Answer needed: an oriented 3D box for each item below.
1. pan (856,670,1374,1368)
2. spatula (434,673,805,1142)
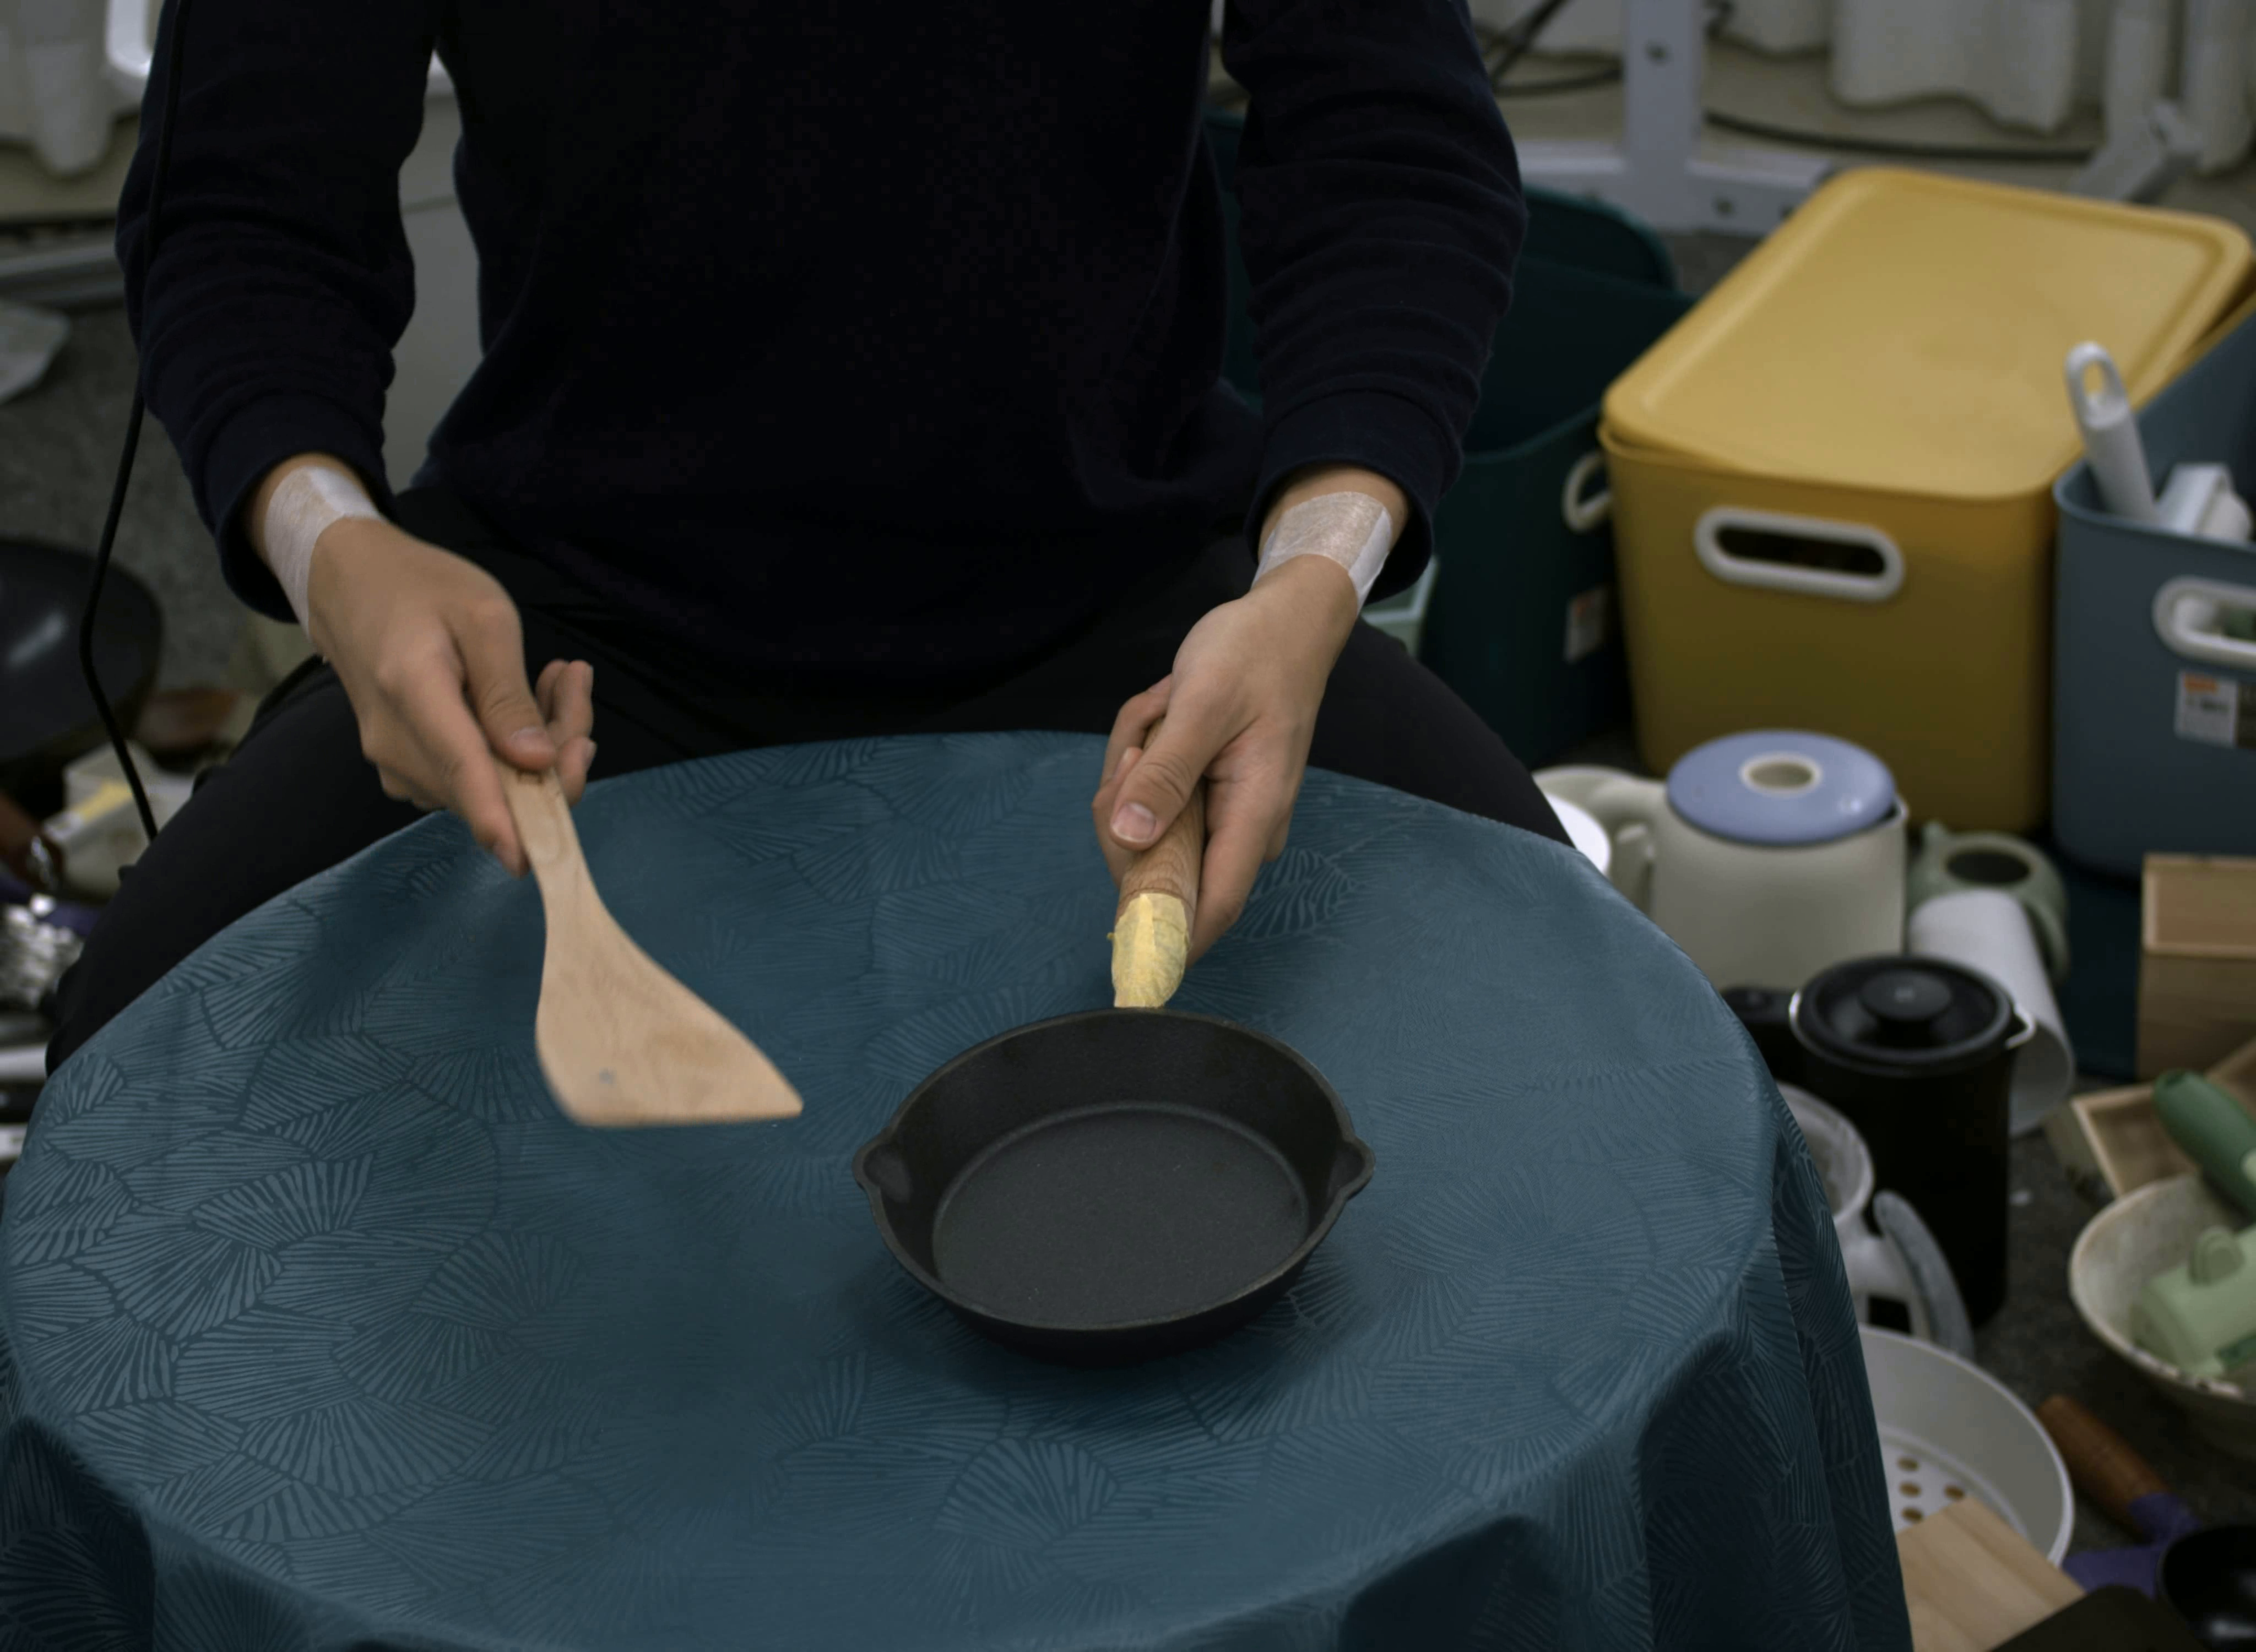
[{"bbox_3d":[0.007,0.062,1.873,0.168,0.049,0.331,1,38,9],"label":"pan"},{"bbox_3d":[-0.181,0.024,1.843,0.080,0.016,0.331,2,28,-22],"label":"spatula"}]
